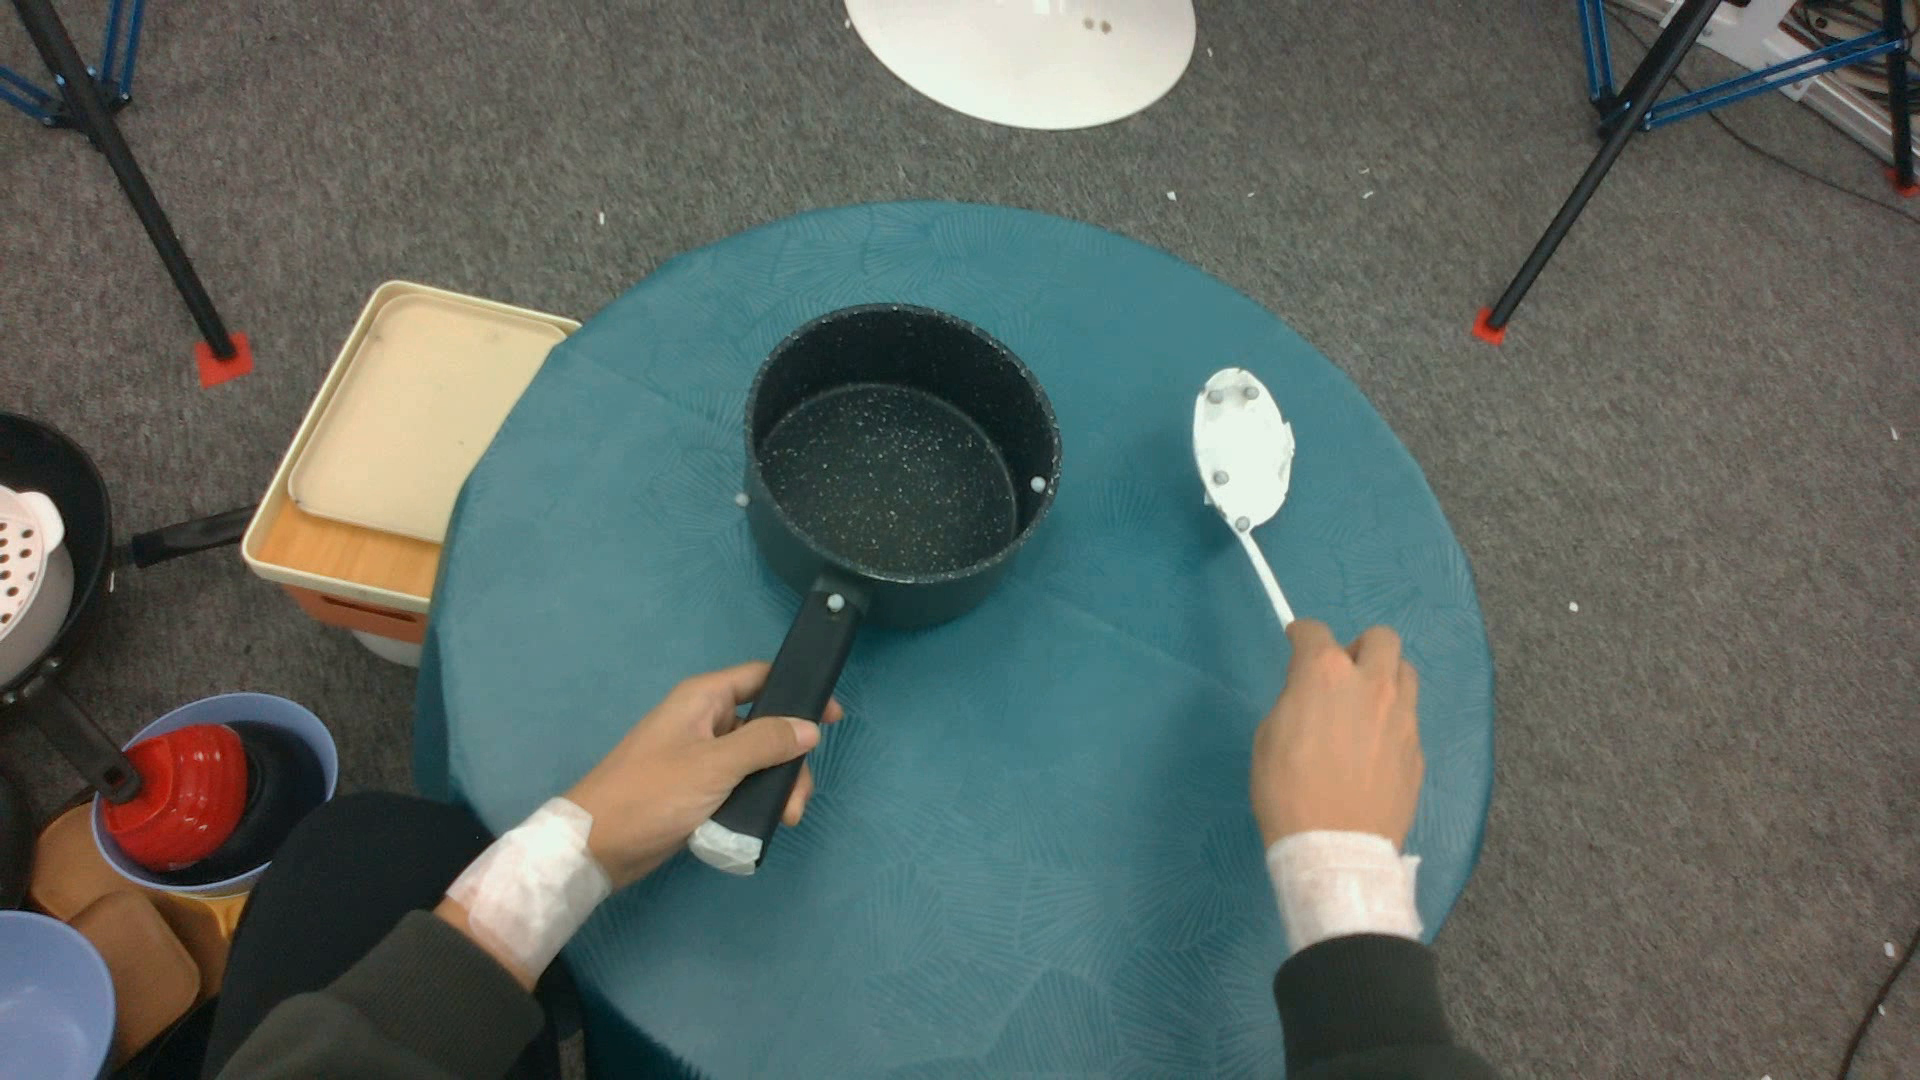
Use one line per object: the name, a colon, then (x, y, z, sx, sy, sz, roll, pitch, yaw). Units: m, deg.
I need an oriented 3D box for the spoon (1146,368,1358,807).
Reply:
spoon: (0.167, 0.013, 0.744, 0.101, 0.059, 0.278, 14, 38, -30)

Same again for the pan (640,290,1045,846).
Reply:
pan: (-0.073, 0.016, 0.715, 0.172, 0.086, 0.330, 24, 59, 1)
